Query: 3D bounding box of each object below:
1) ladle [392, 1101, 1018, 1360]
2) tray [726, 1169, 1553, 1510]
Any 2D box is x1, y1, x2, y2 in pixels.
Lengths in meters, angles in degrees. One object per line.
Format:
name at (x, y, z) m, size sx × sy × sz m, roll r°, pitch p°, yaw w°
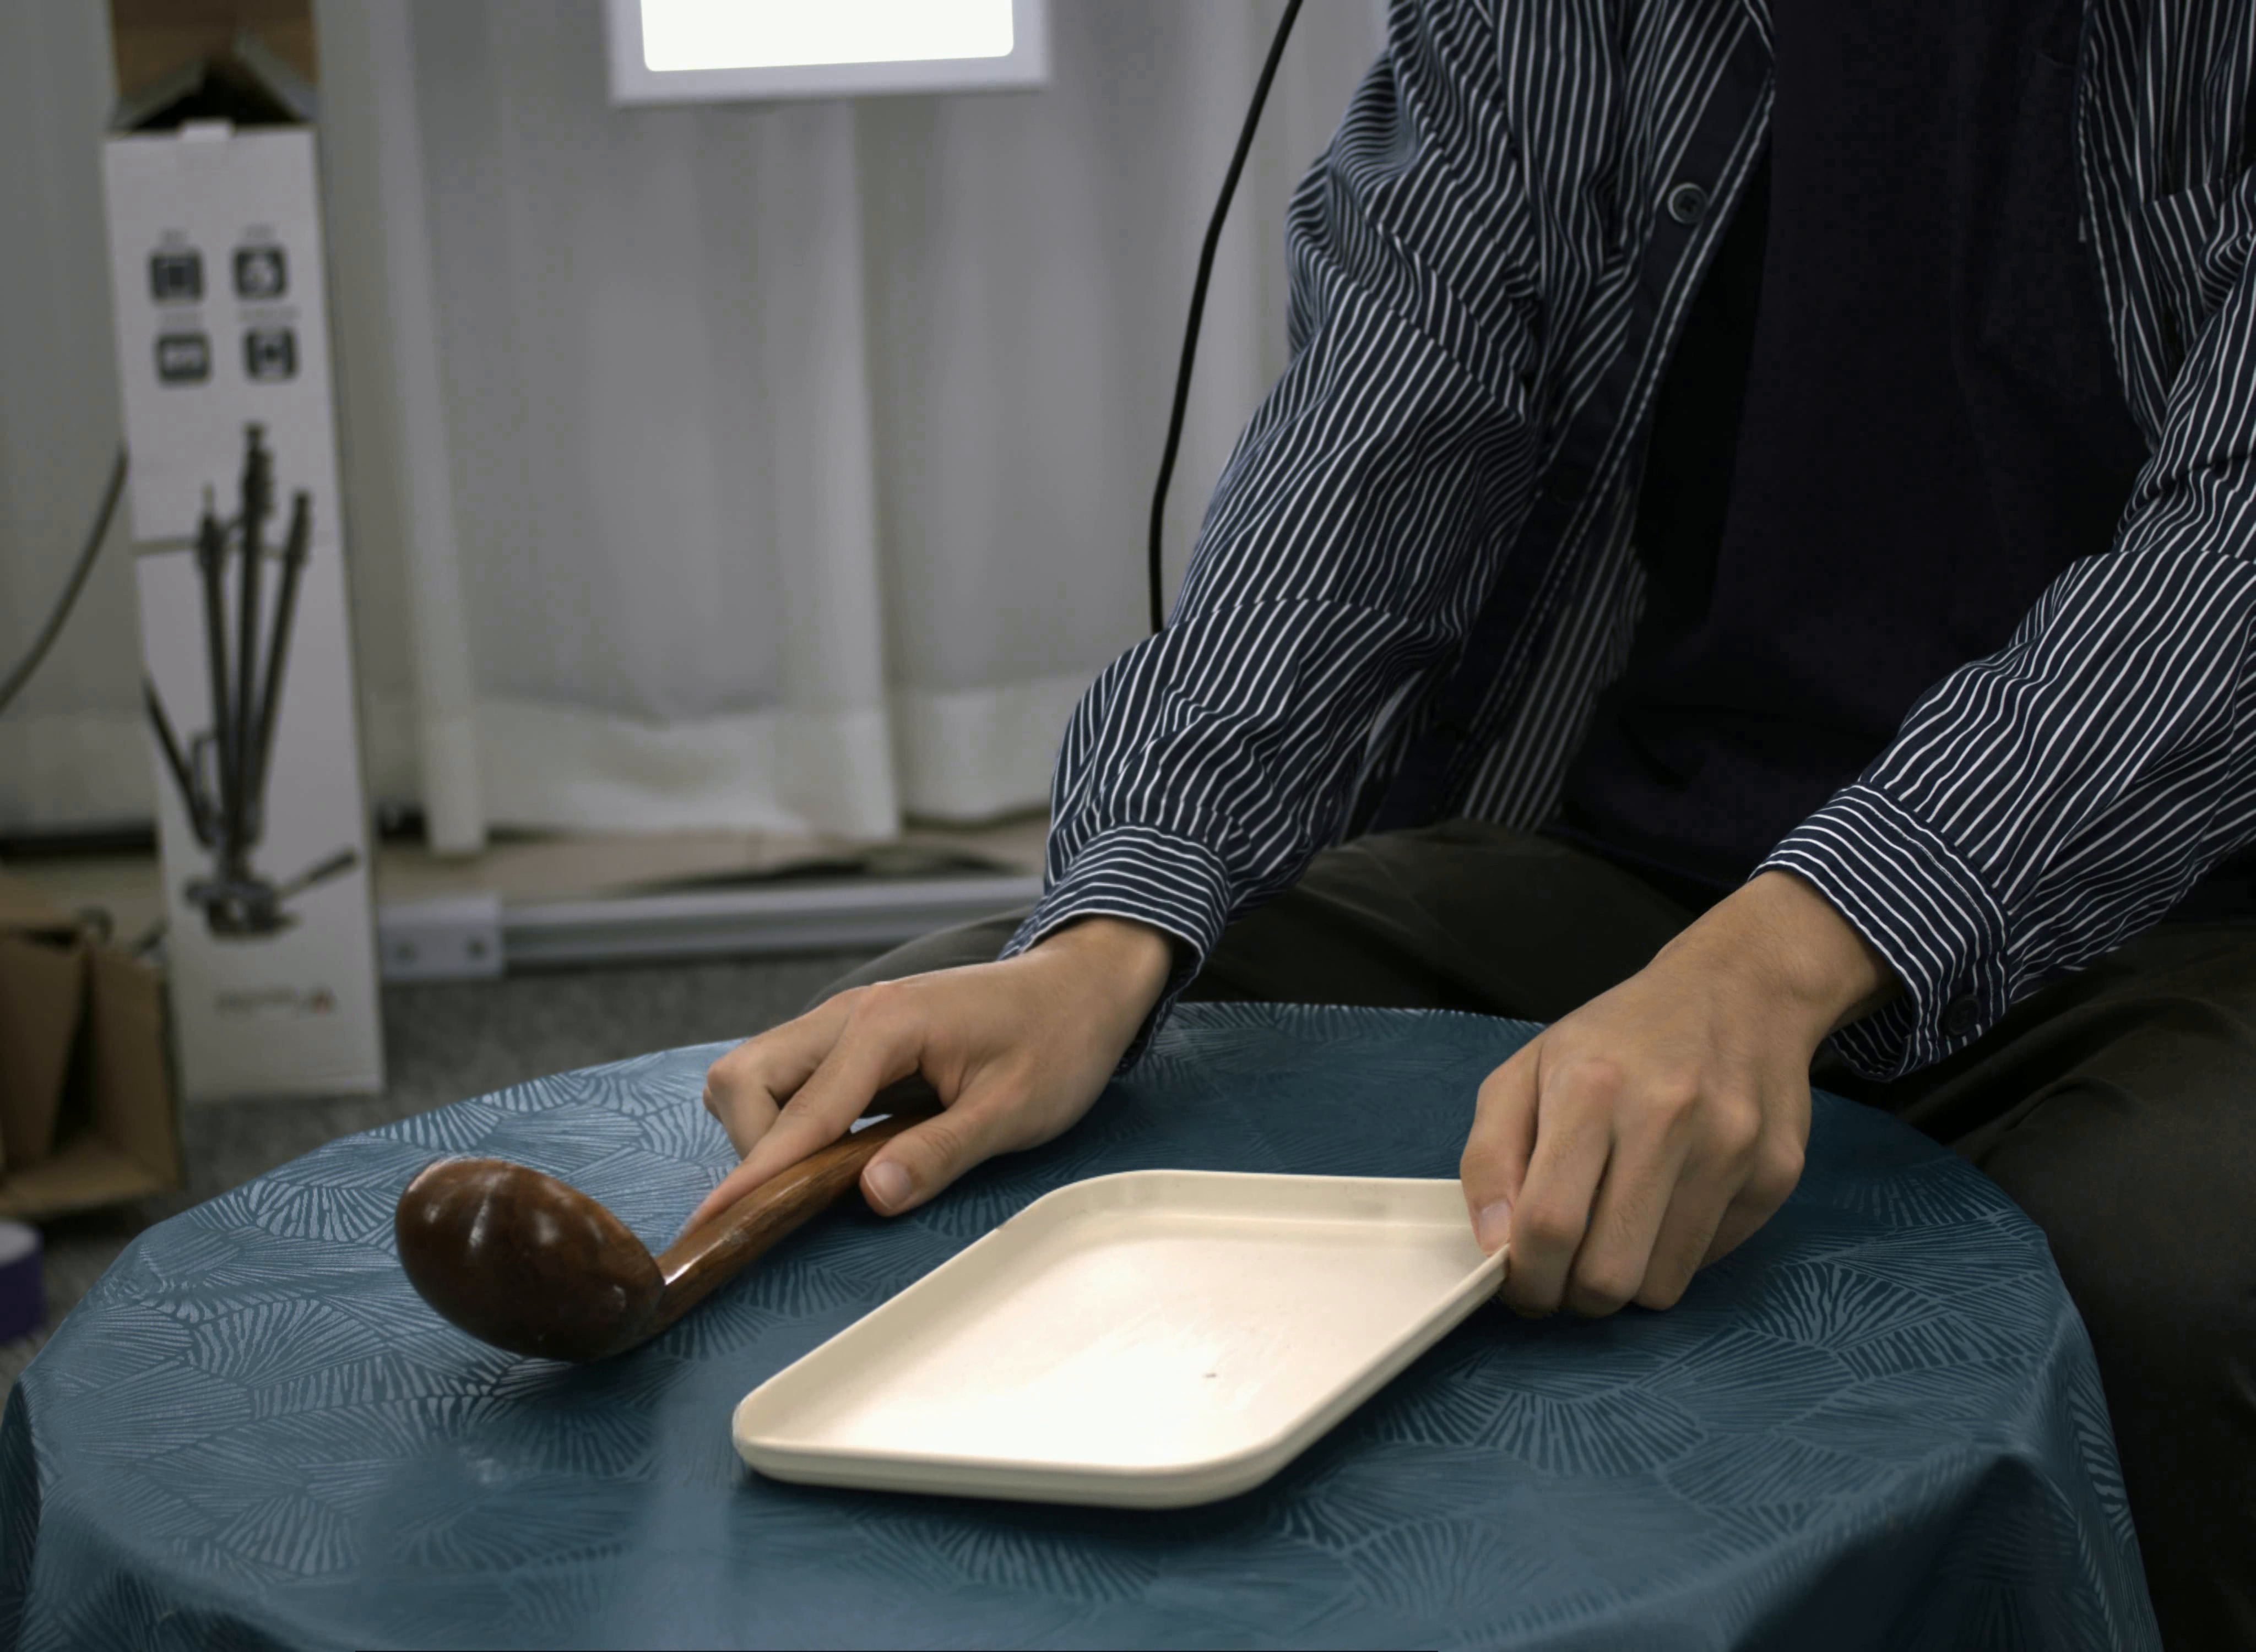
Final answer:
ladle at (-0.119, 0.097, 1.655) m, size 0.082 × 0.076 × 0.274 m, roll 7°, pitch 18°, yaw 31°
tray at (0.008, 0.144, 1.550) m, size 0.171 × 0.017 × 0.240 m, roll 1°, pitch 15°, yaw 28°
